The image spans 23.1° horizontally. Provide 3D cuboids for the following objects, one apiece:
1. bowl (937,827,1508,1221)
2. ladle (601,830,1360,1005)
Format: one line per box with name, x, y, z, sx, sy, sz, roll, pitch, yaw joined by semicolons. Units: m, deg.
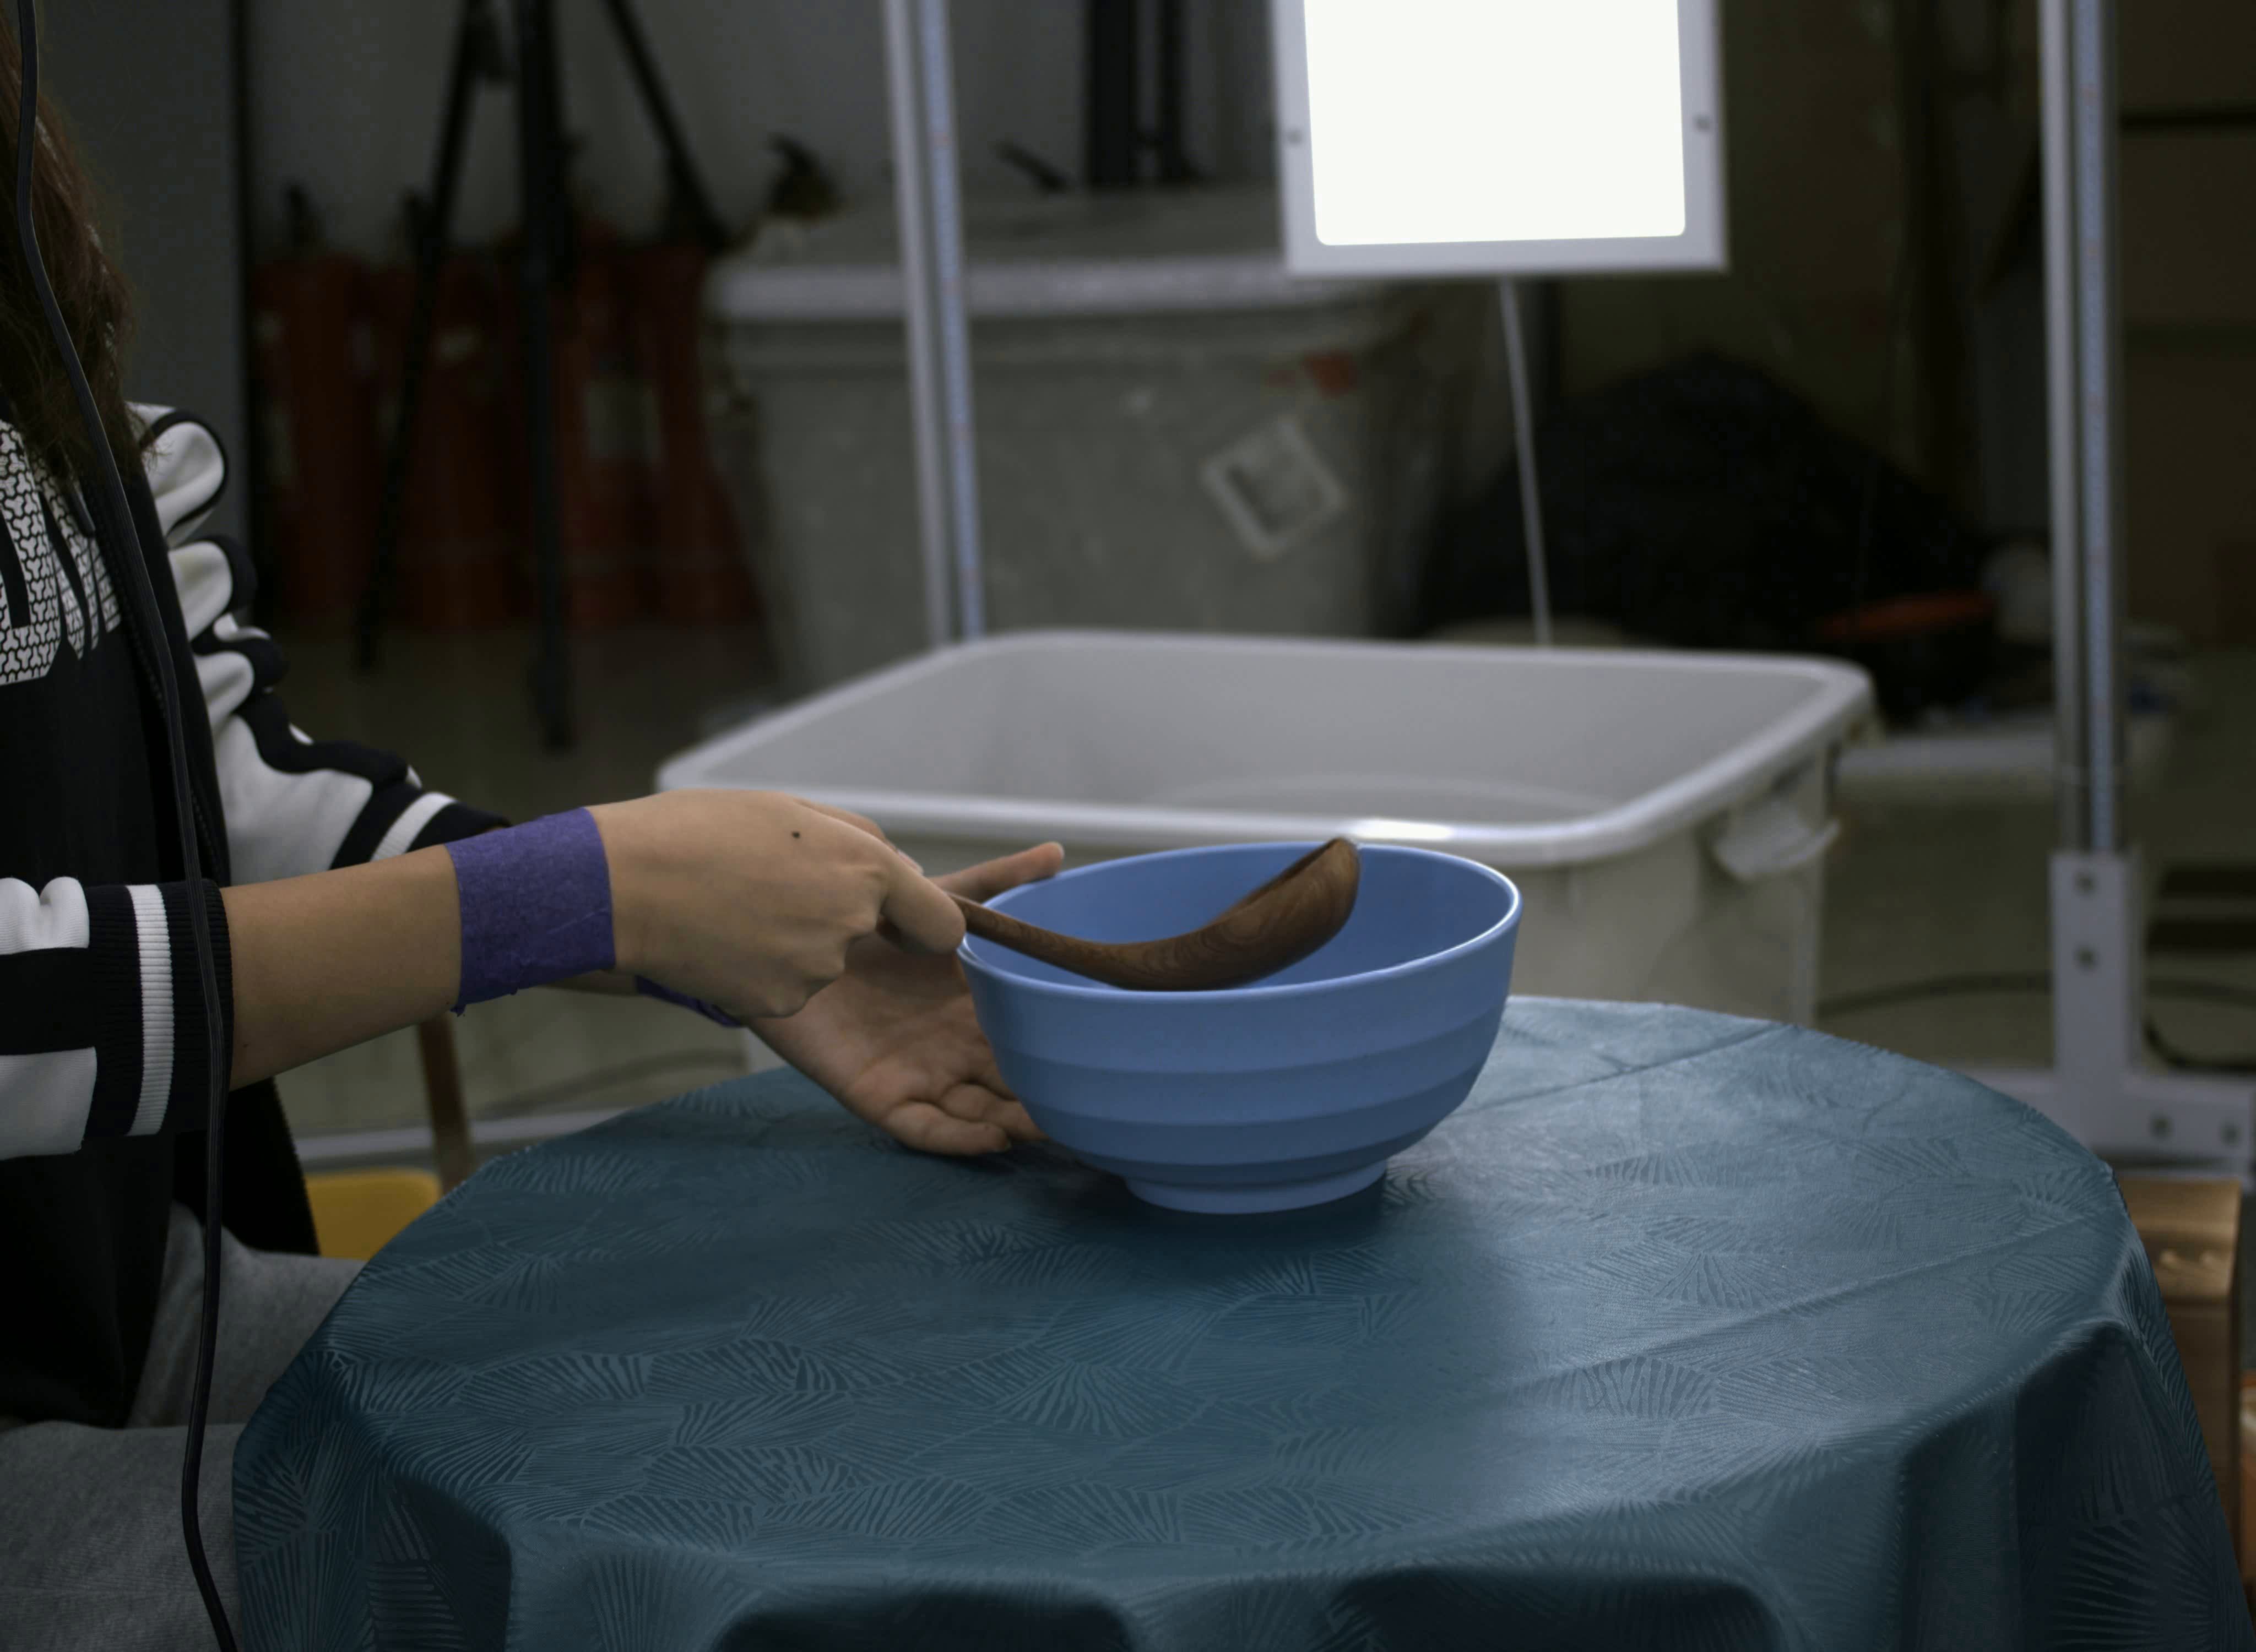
bowl;0.034;0.075;1.899;0.196;0.096;0.196;-3;19;0
ladle;-0.048;0.019;1.861;0.257;0.065;0.077;8;-19;-11
